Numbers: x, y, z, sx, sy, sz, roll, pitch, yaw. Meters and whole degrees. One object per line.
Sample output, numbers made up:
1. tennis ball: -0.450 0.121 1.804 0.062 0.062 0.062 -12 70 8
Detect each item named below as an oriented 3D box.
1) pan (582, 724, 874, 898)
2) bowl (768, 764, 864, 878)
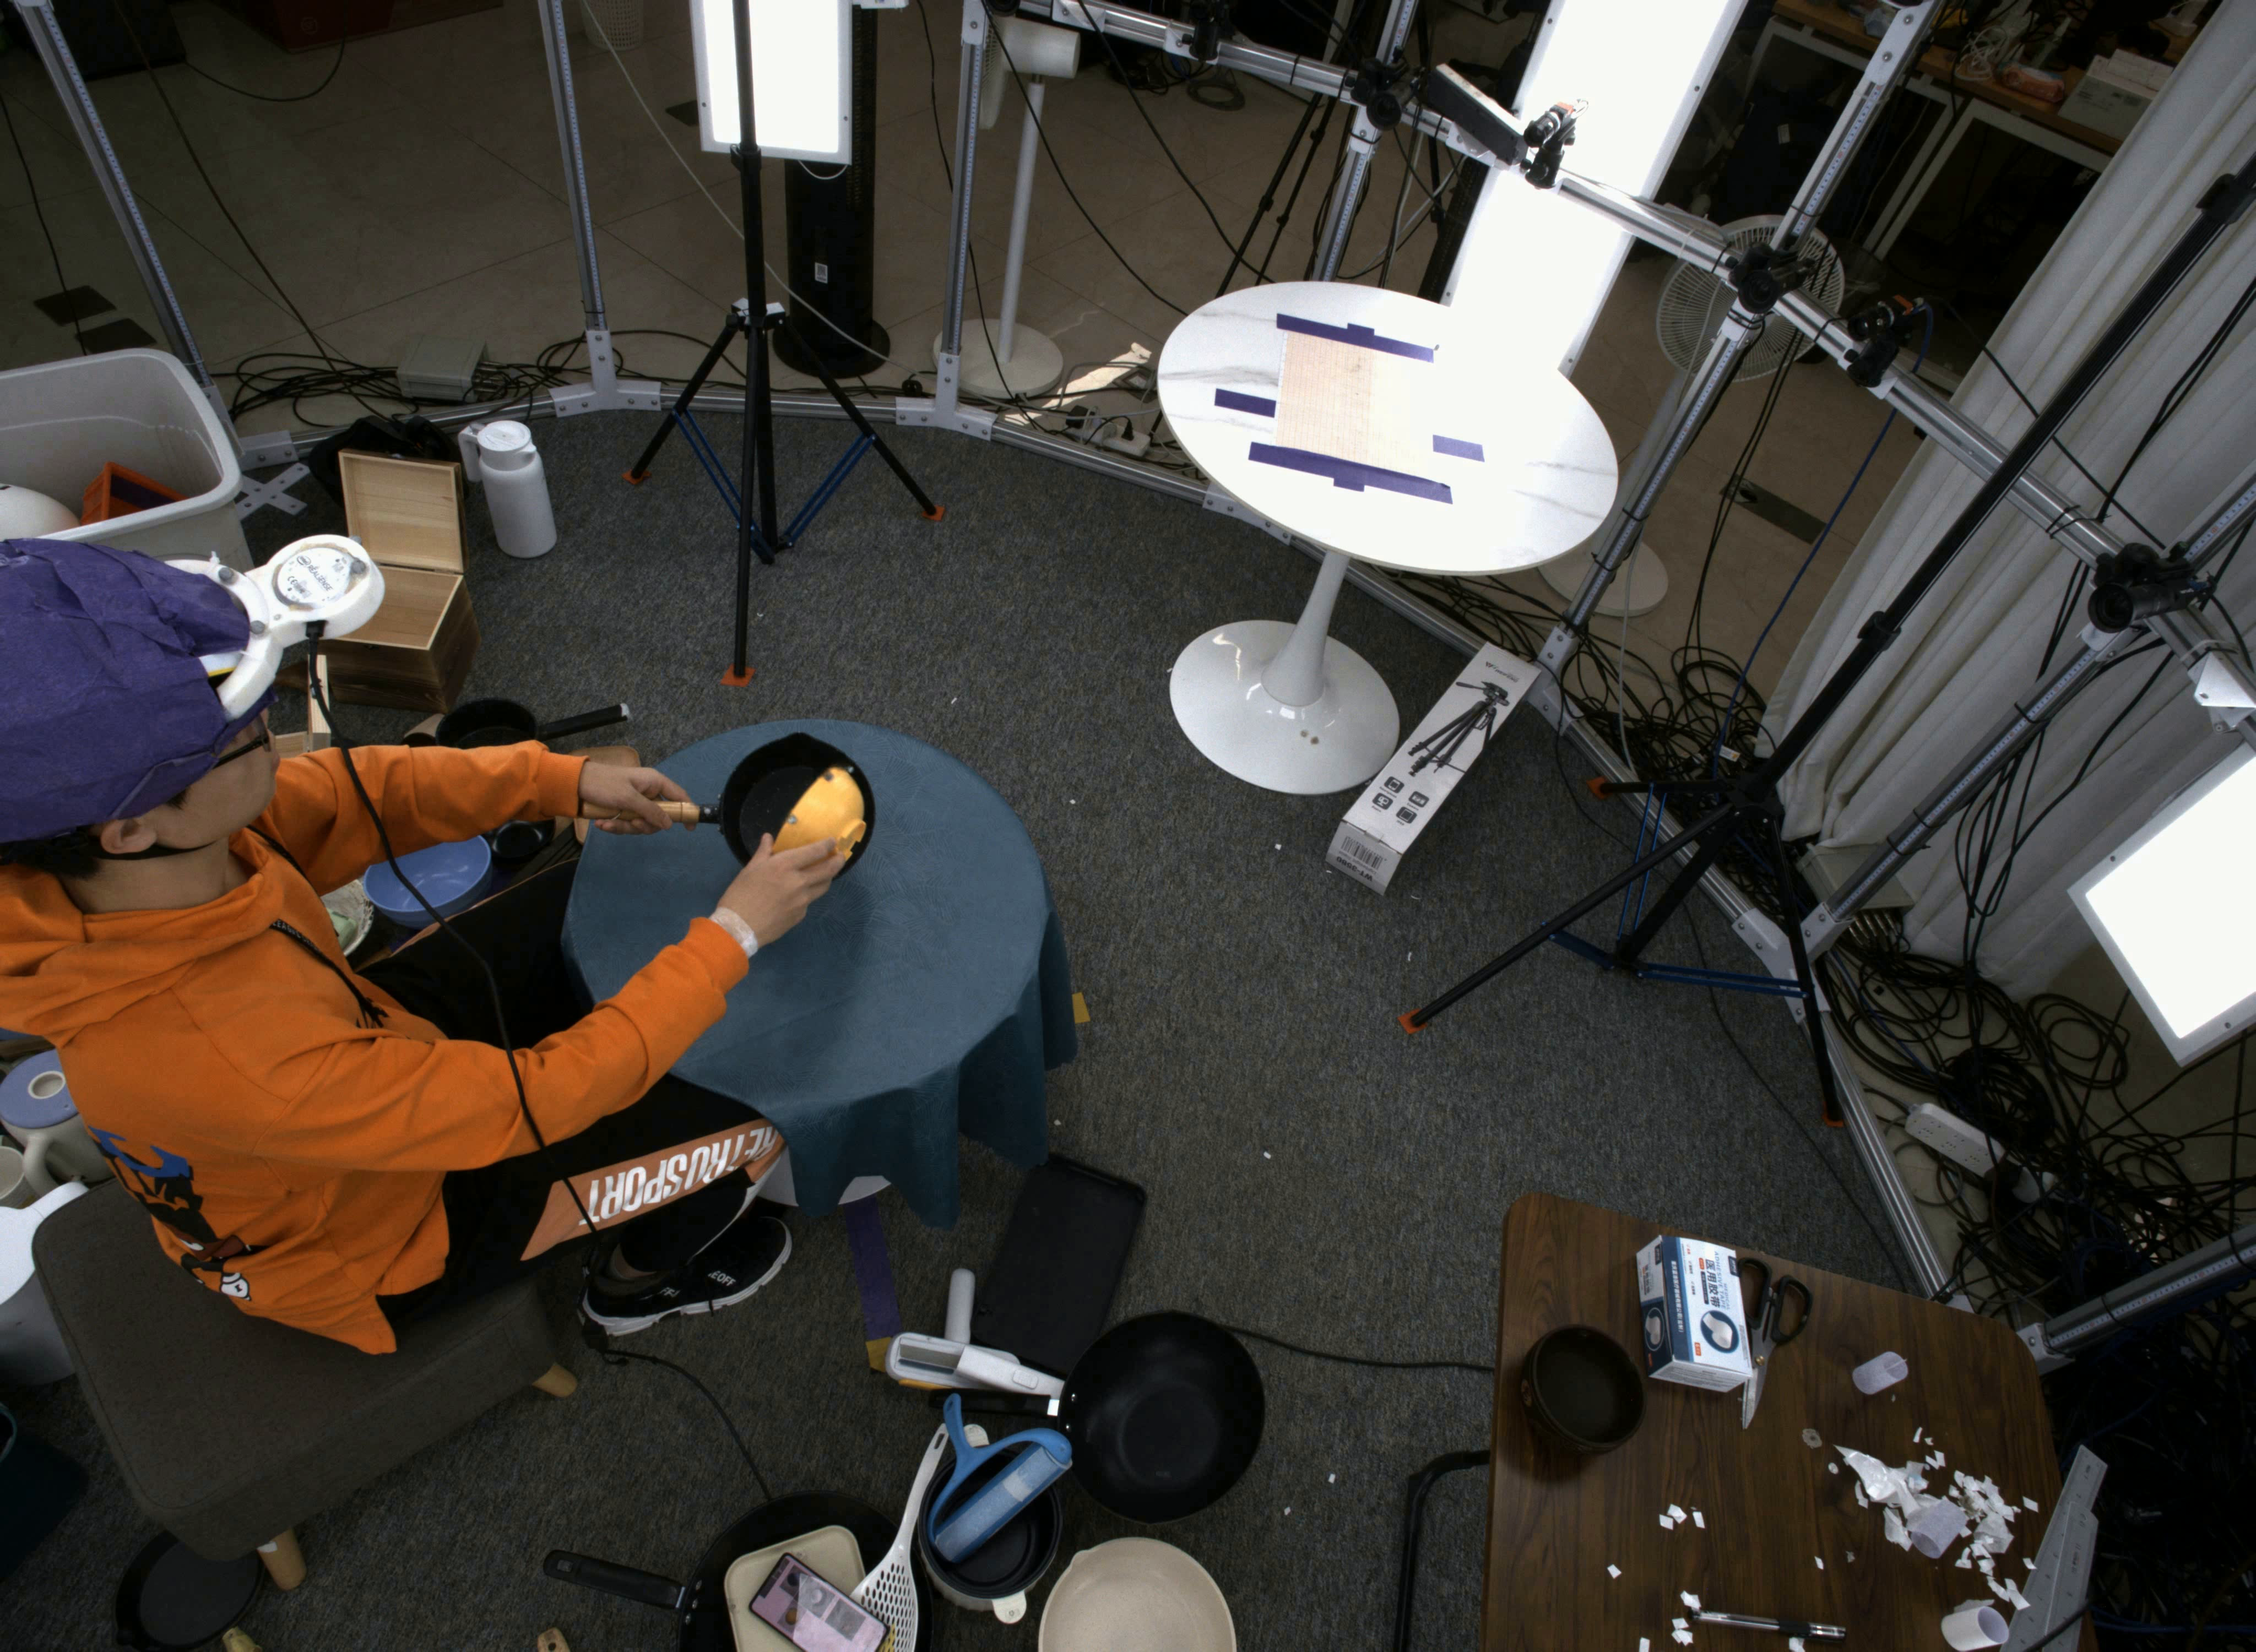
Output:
1. pan: -0.481 -0.014 1.555 0.344 0.107 0.208 -1 83 -18
2. bowl: -0.346 0.005 1.493 0.059 0.147 0.145 32 52 5
